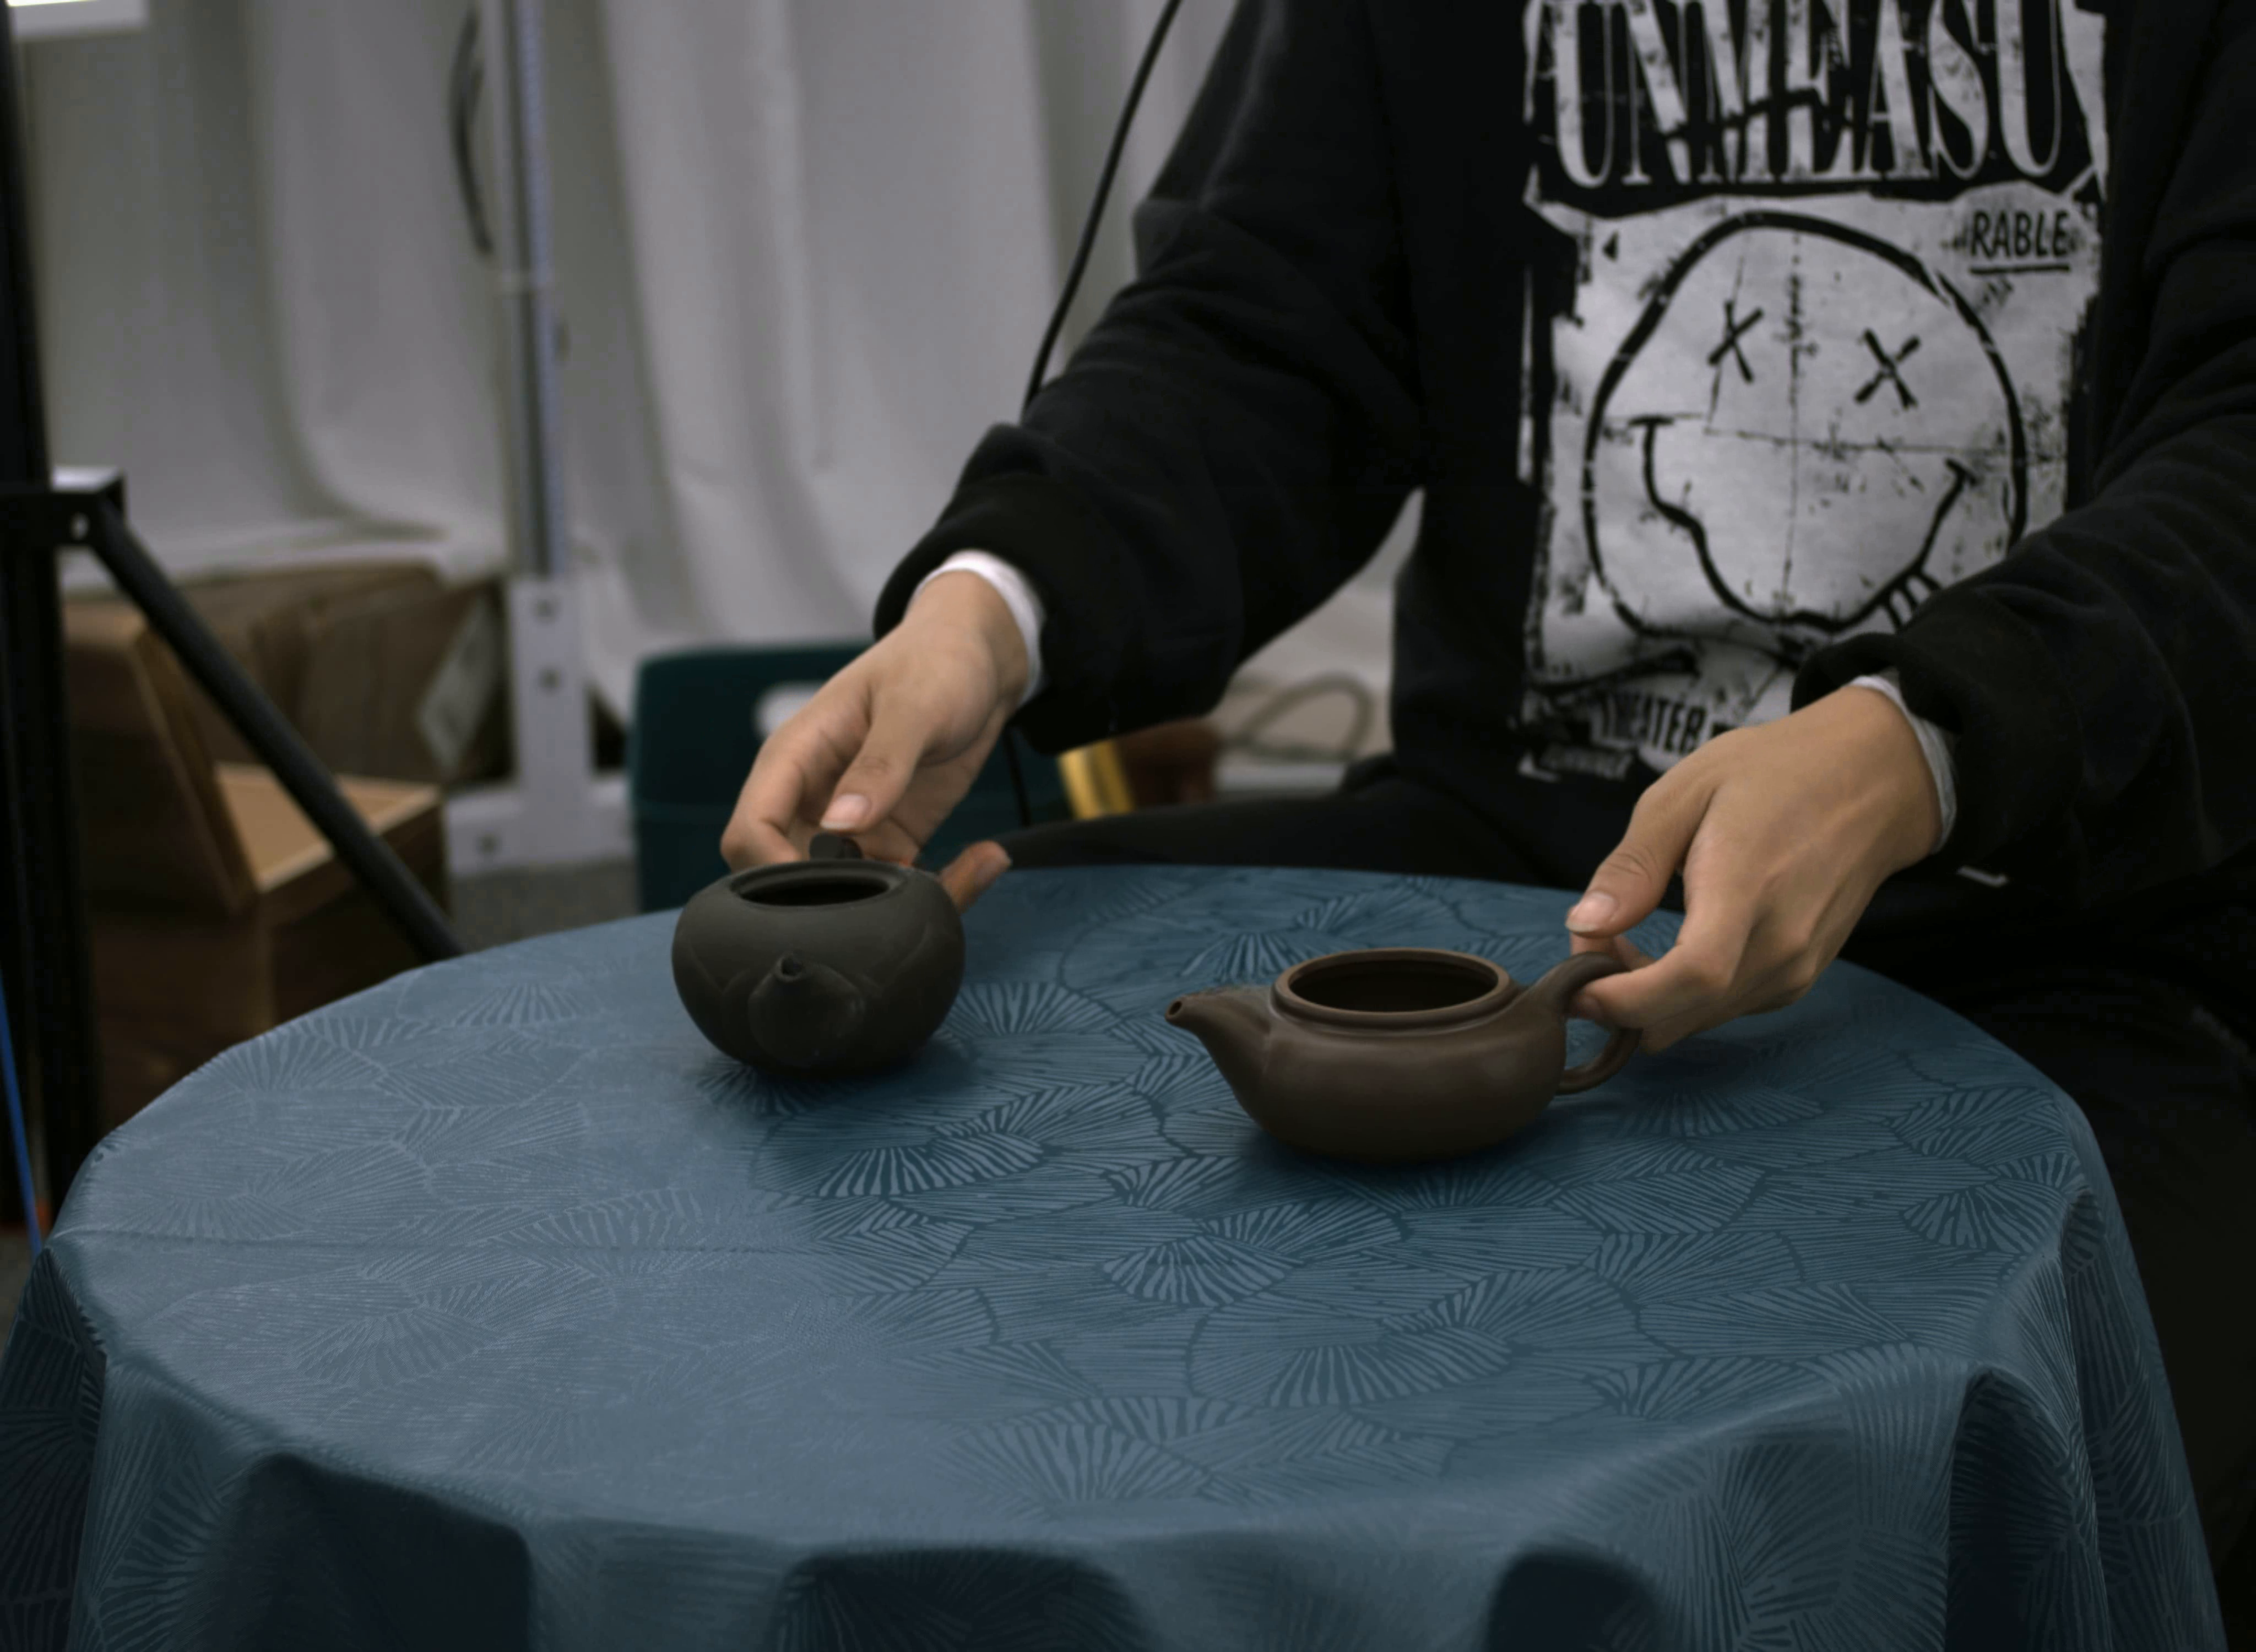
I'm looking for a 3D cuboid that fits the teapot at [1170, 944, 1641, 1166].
[{"bbox_3d":[0.084,0.066,1.588,0.150,0.054,0.104,-10,19,-22],"label":"teapot"}]

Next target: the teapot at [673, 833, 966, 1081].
[{"bbox_3d":[-0.097,0.042,1.687,0.092,0.064,0.154,1,16,5],"label":"teapot"}]
